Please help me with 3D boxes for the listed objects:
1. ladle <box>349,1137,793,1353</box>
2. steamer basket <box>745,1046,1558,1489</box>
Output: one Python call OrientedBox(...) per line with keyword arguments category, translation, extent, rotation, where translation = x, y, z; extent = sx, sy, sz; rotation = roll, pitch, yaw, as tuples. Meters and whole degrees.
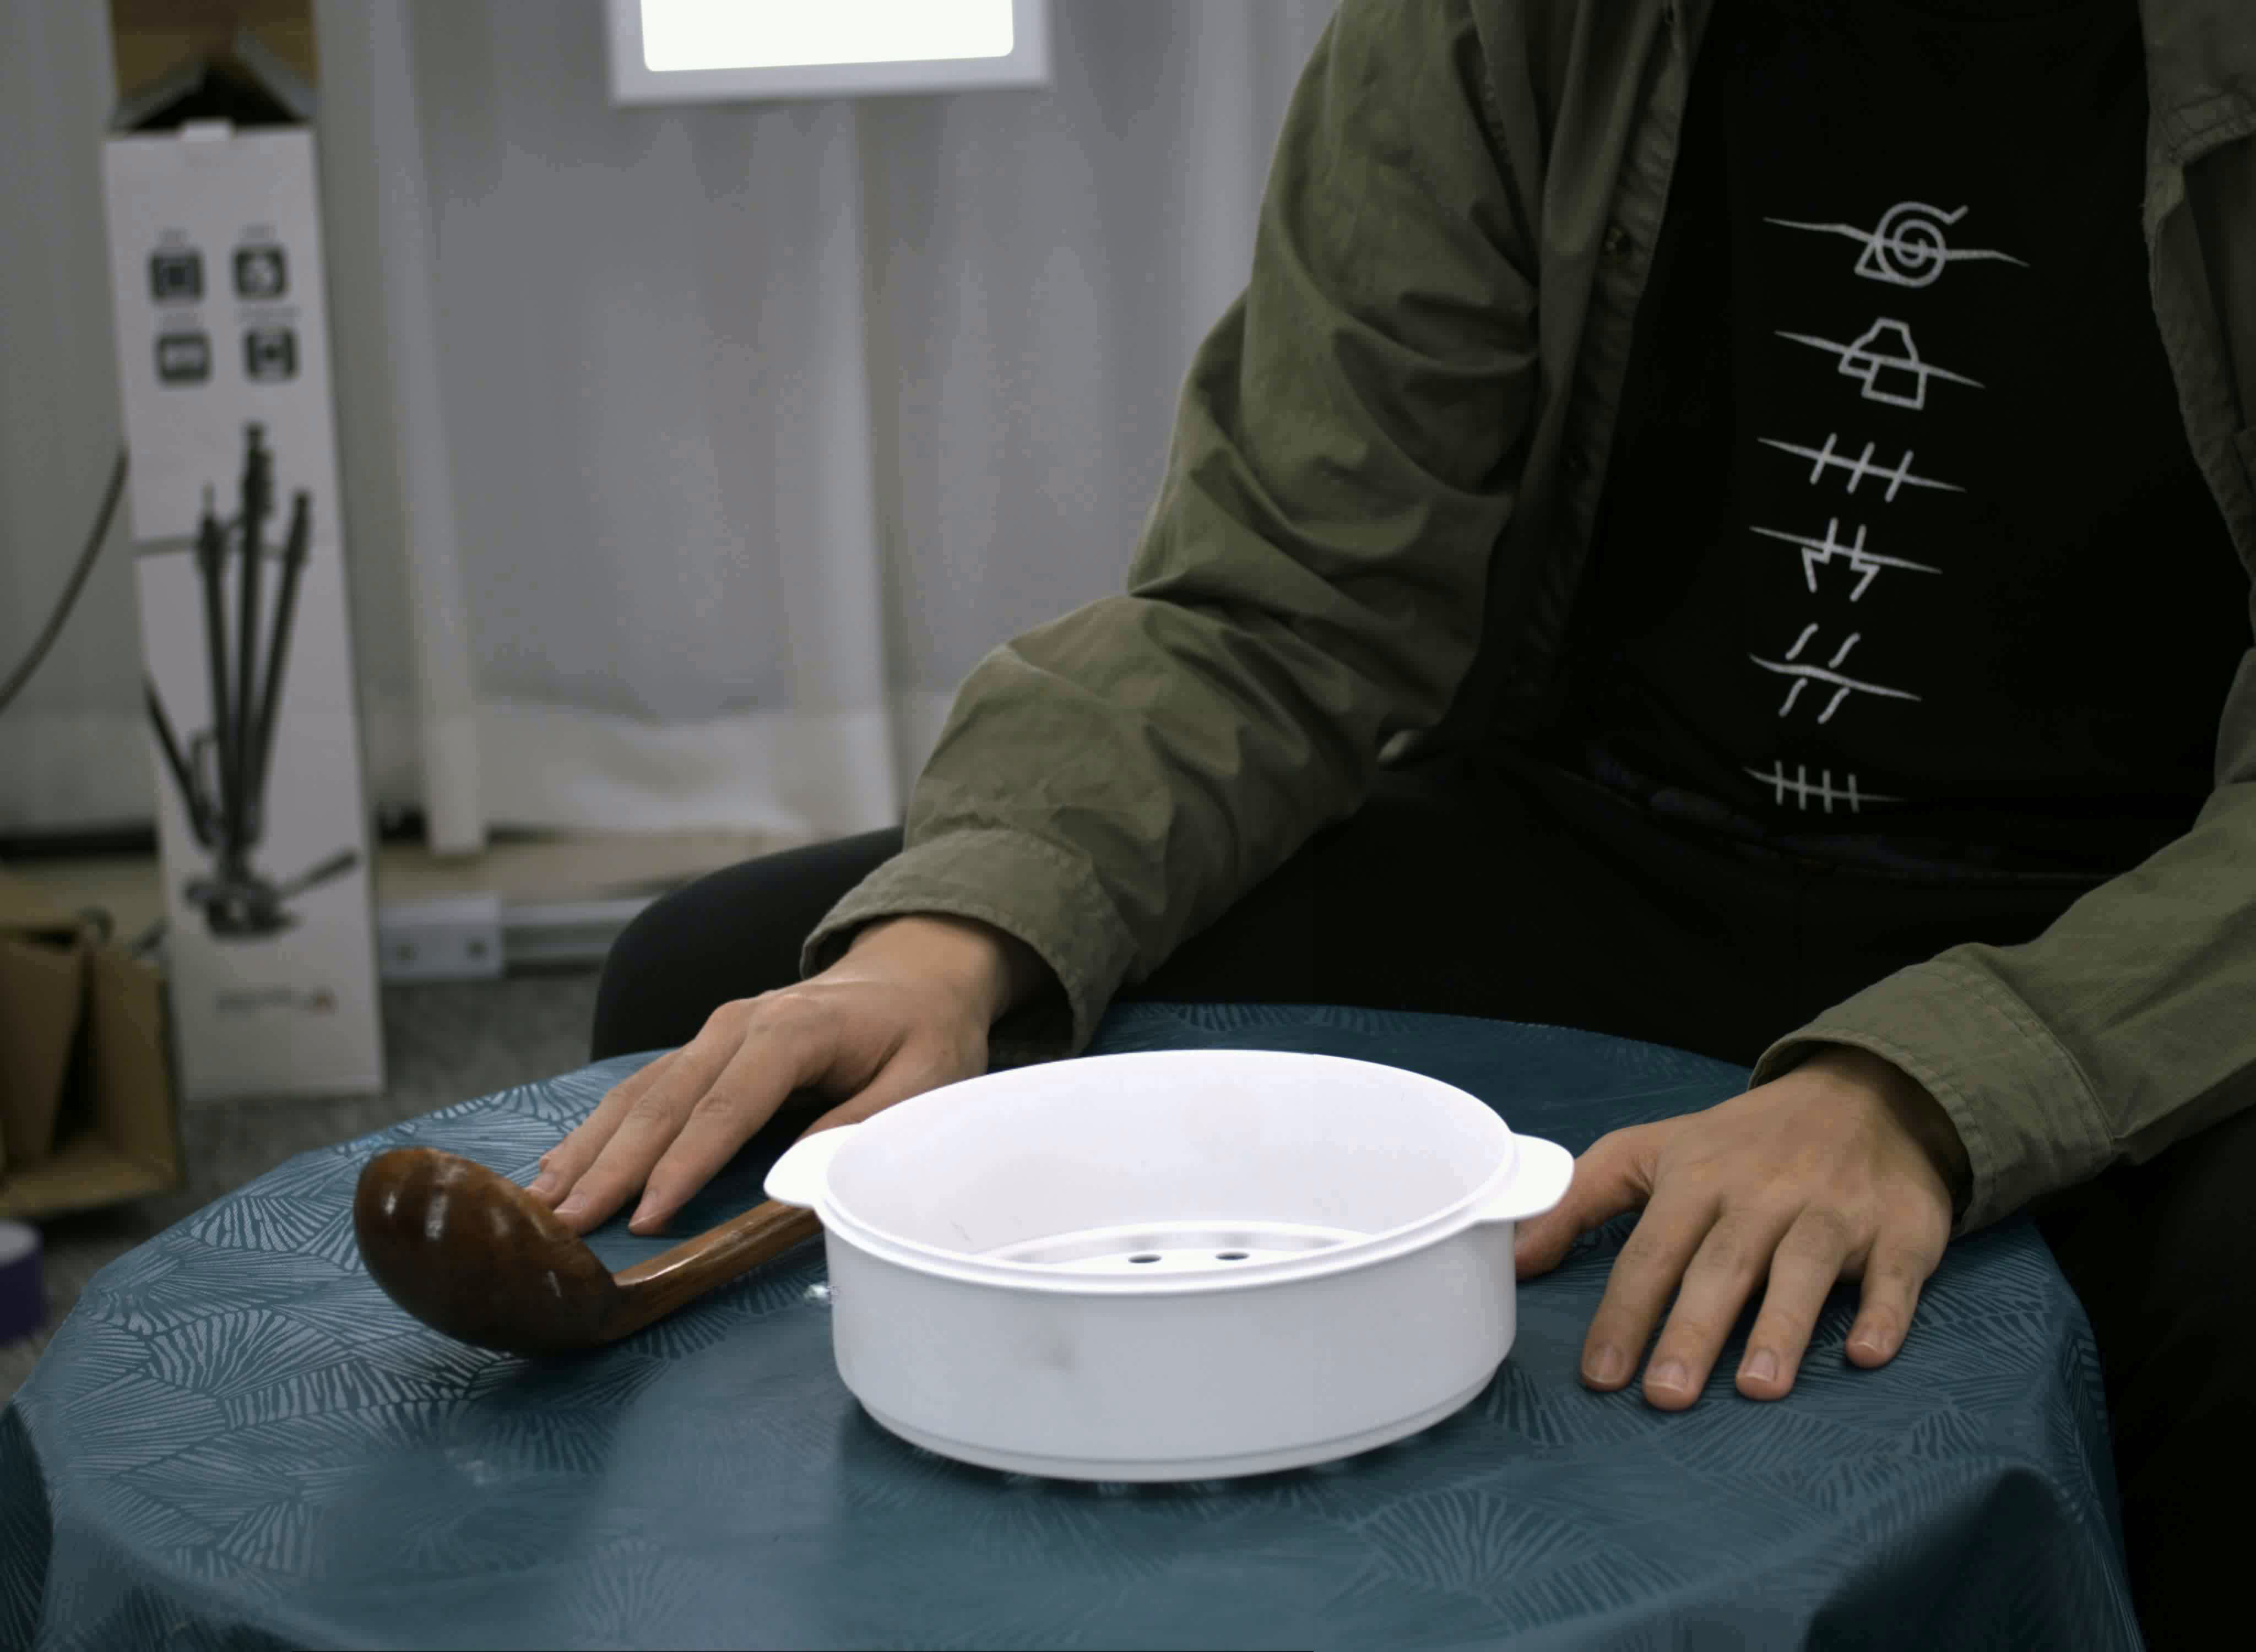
OrientedBox(category="ladle", translation=(-0.119, 0.099, 1.653), extent=(0.082, 0.076, 0.273), rotation=(4, 15, 42))
OrientedBox(category="steamer basket", translation=(0.007, 0.125, 1.549), extent=(0.230, 0.069, 0.203), rotation=(2, 16, 12))
